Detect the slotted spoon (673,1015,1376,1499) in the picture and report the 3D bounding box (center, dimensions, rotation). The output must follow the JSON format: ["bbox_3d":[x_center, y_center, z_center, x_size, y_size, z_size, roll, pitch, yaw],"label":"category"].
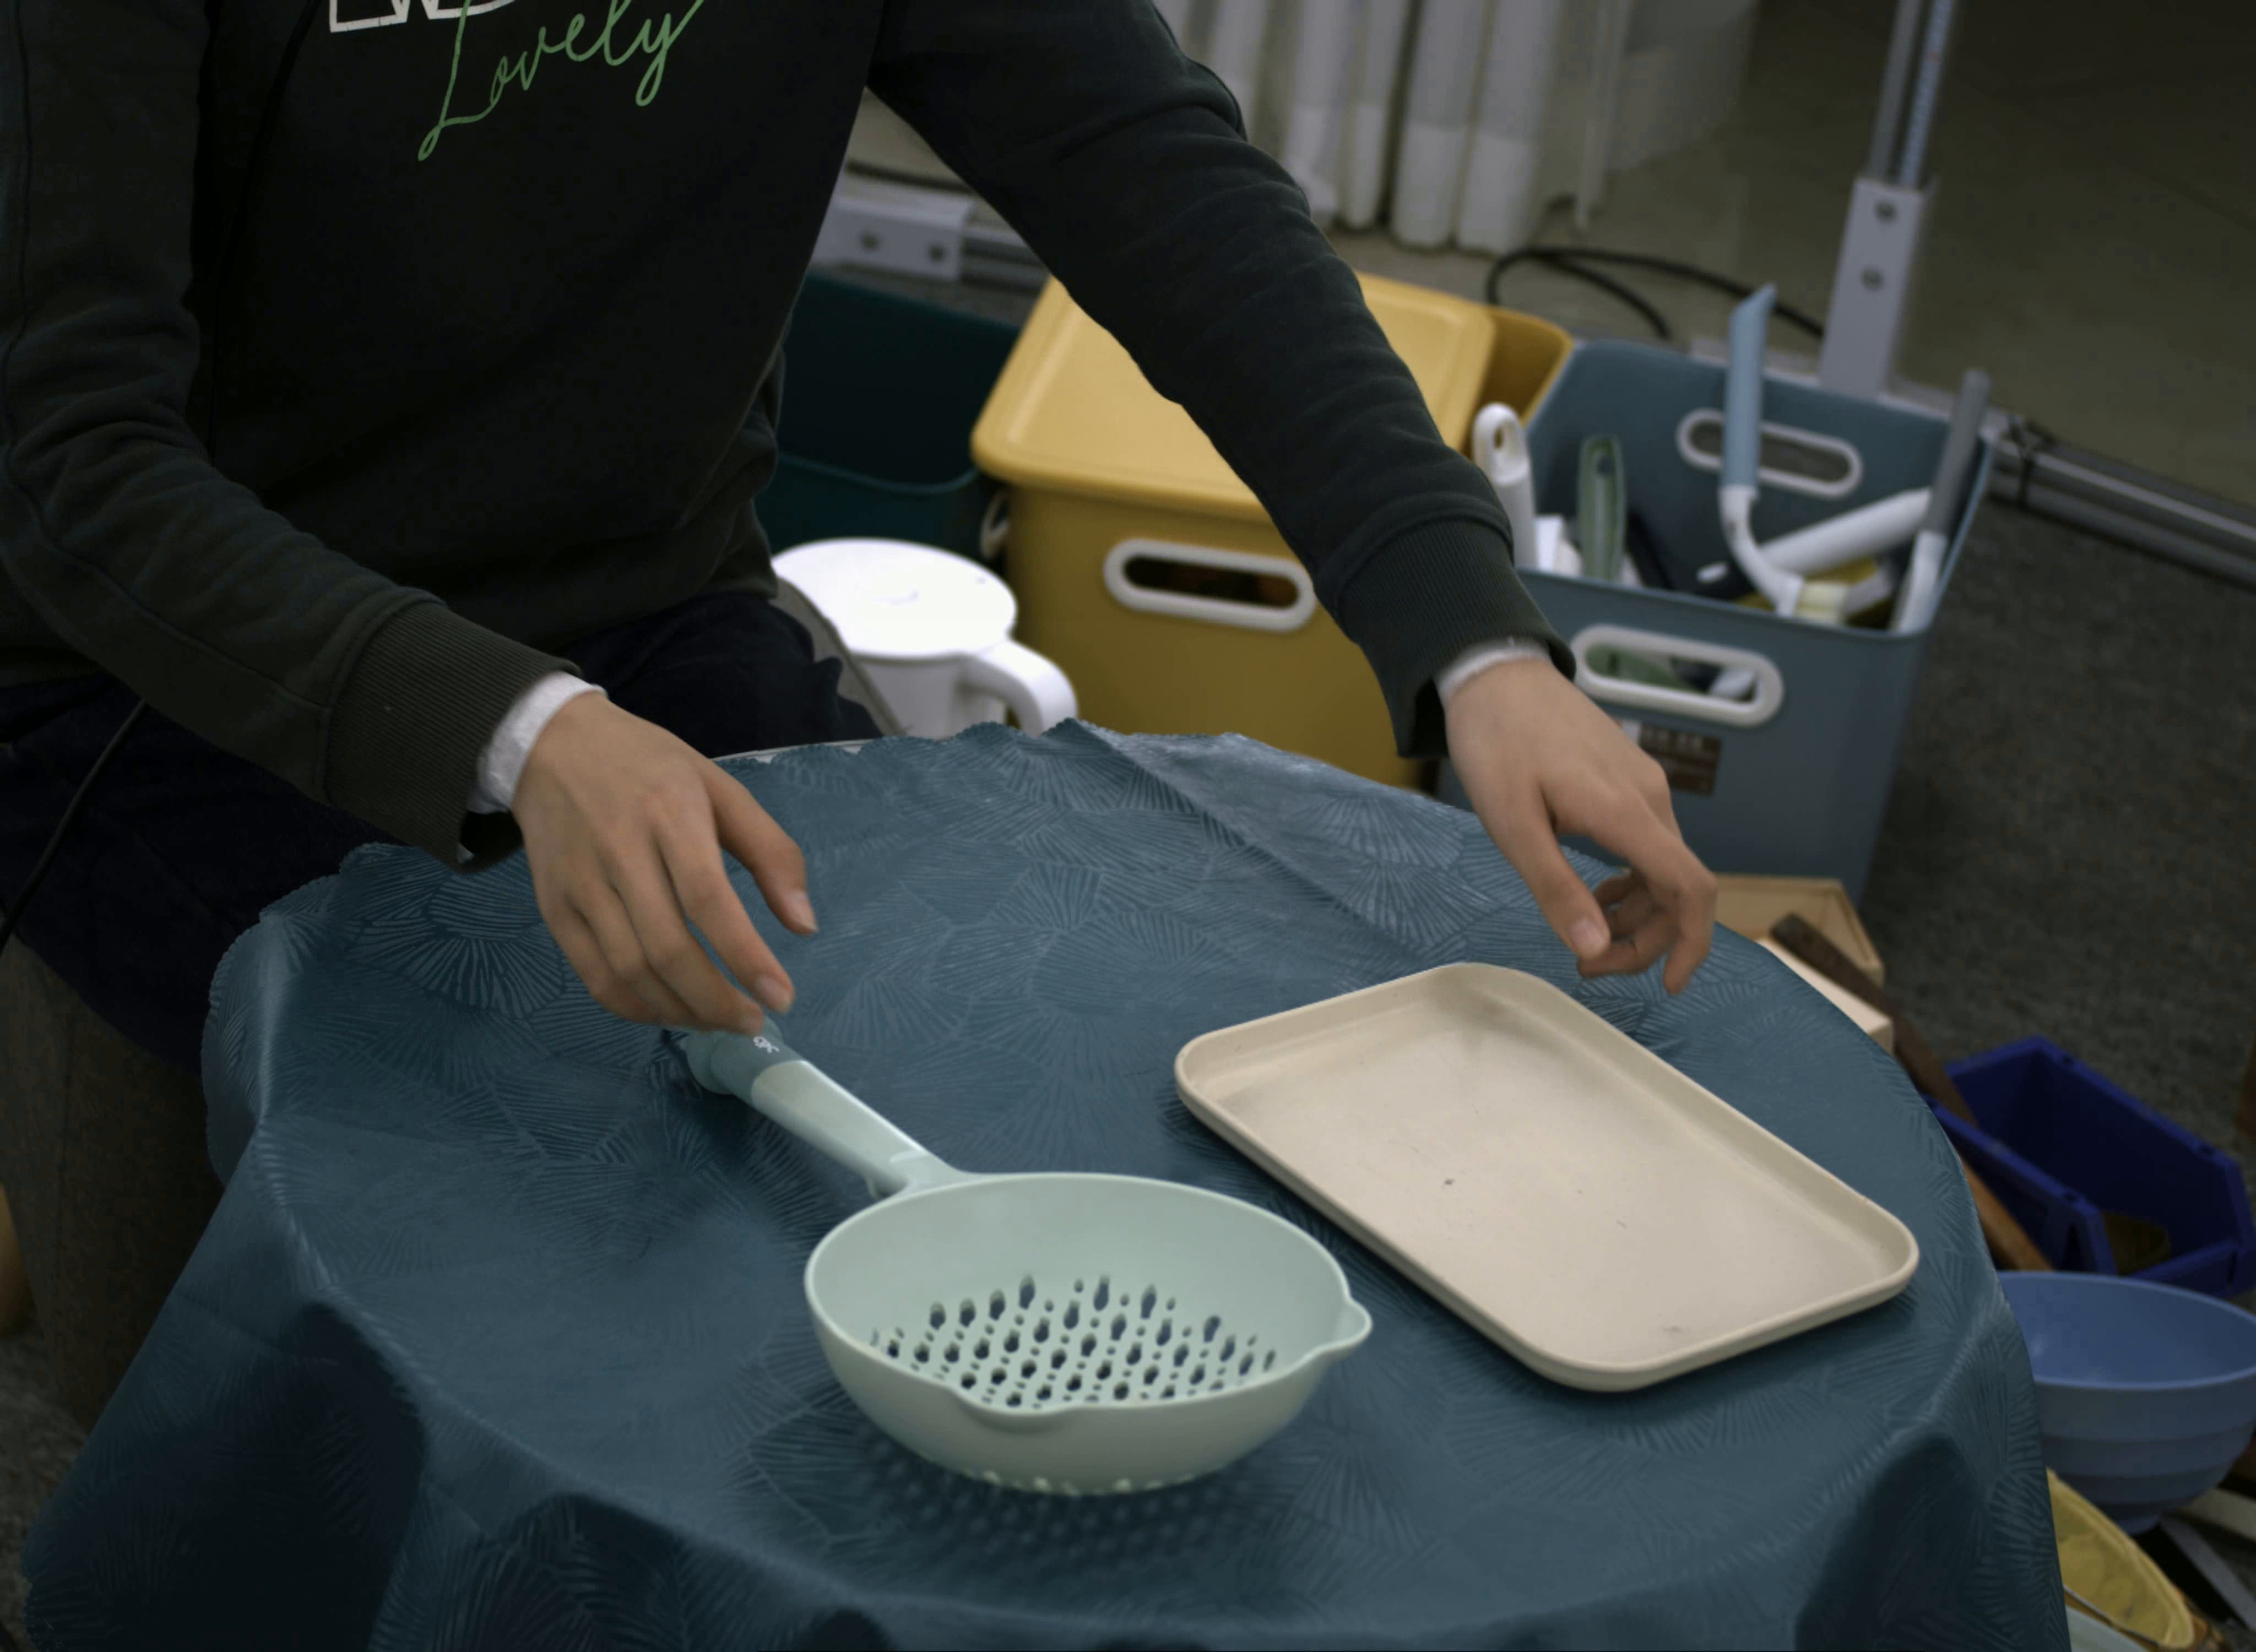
[{"bbox_3d":[-0.065,0.123,1.718,0.168,0.075,0.362,-8,30,-29],"label":"slotted spoon"}]

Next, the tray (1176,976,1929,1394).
[{"bbox_3d":[0.142,0.121,1.820,0.170,0.017,0.242,-14,32,-35],"label":"tray"}]
